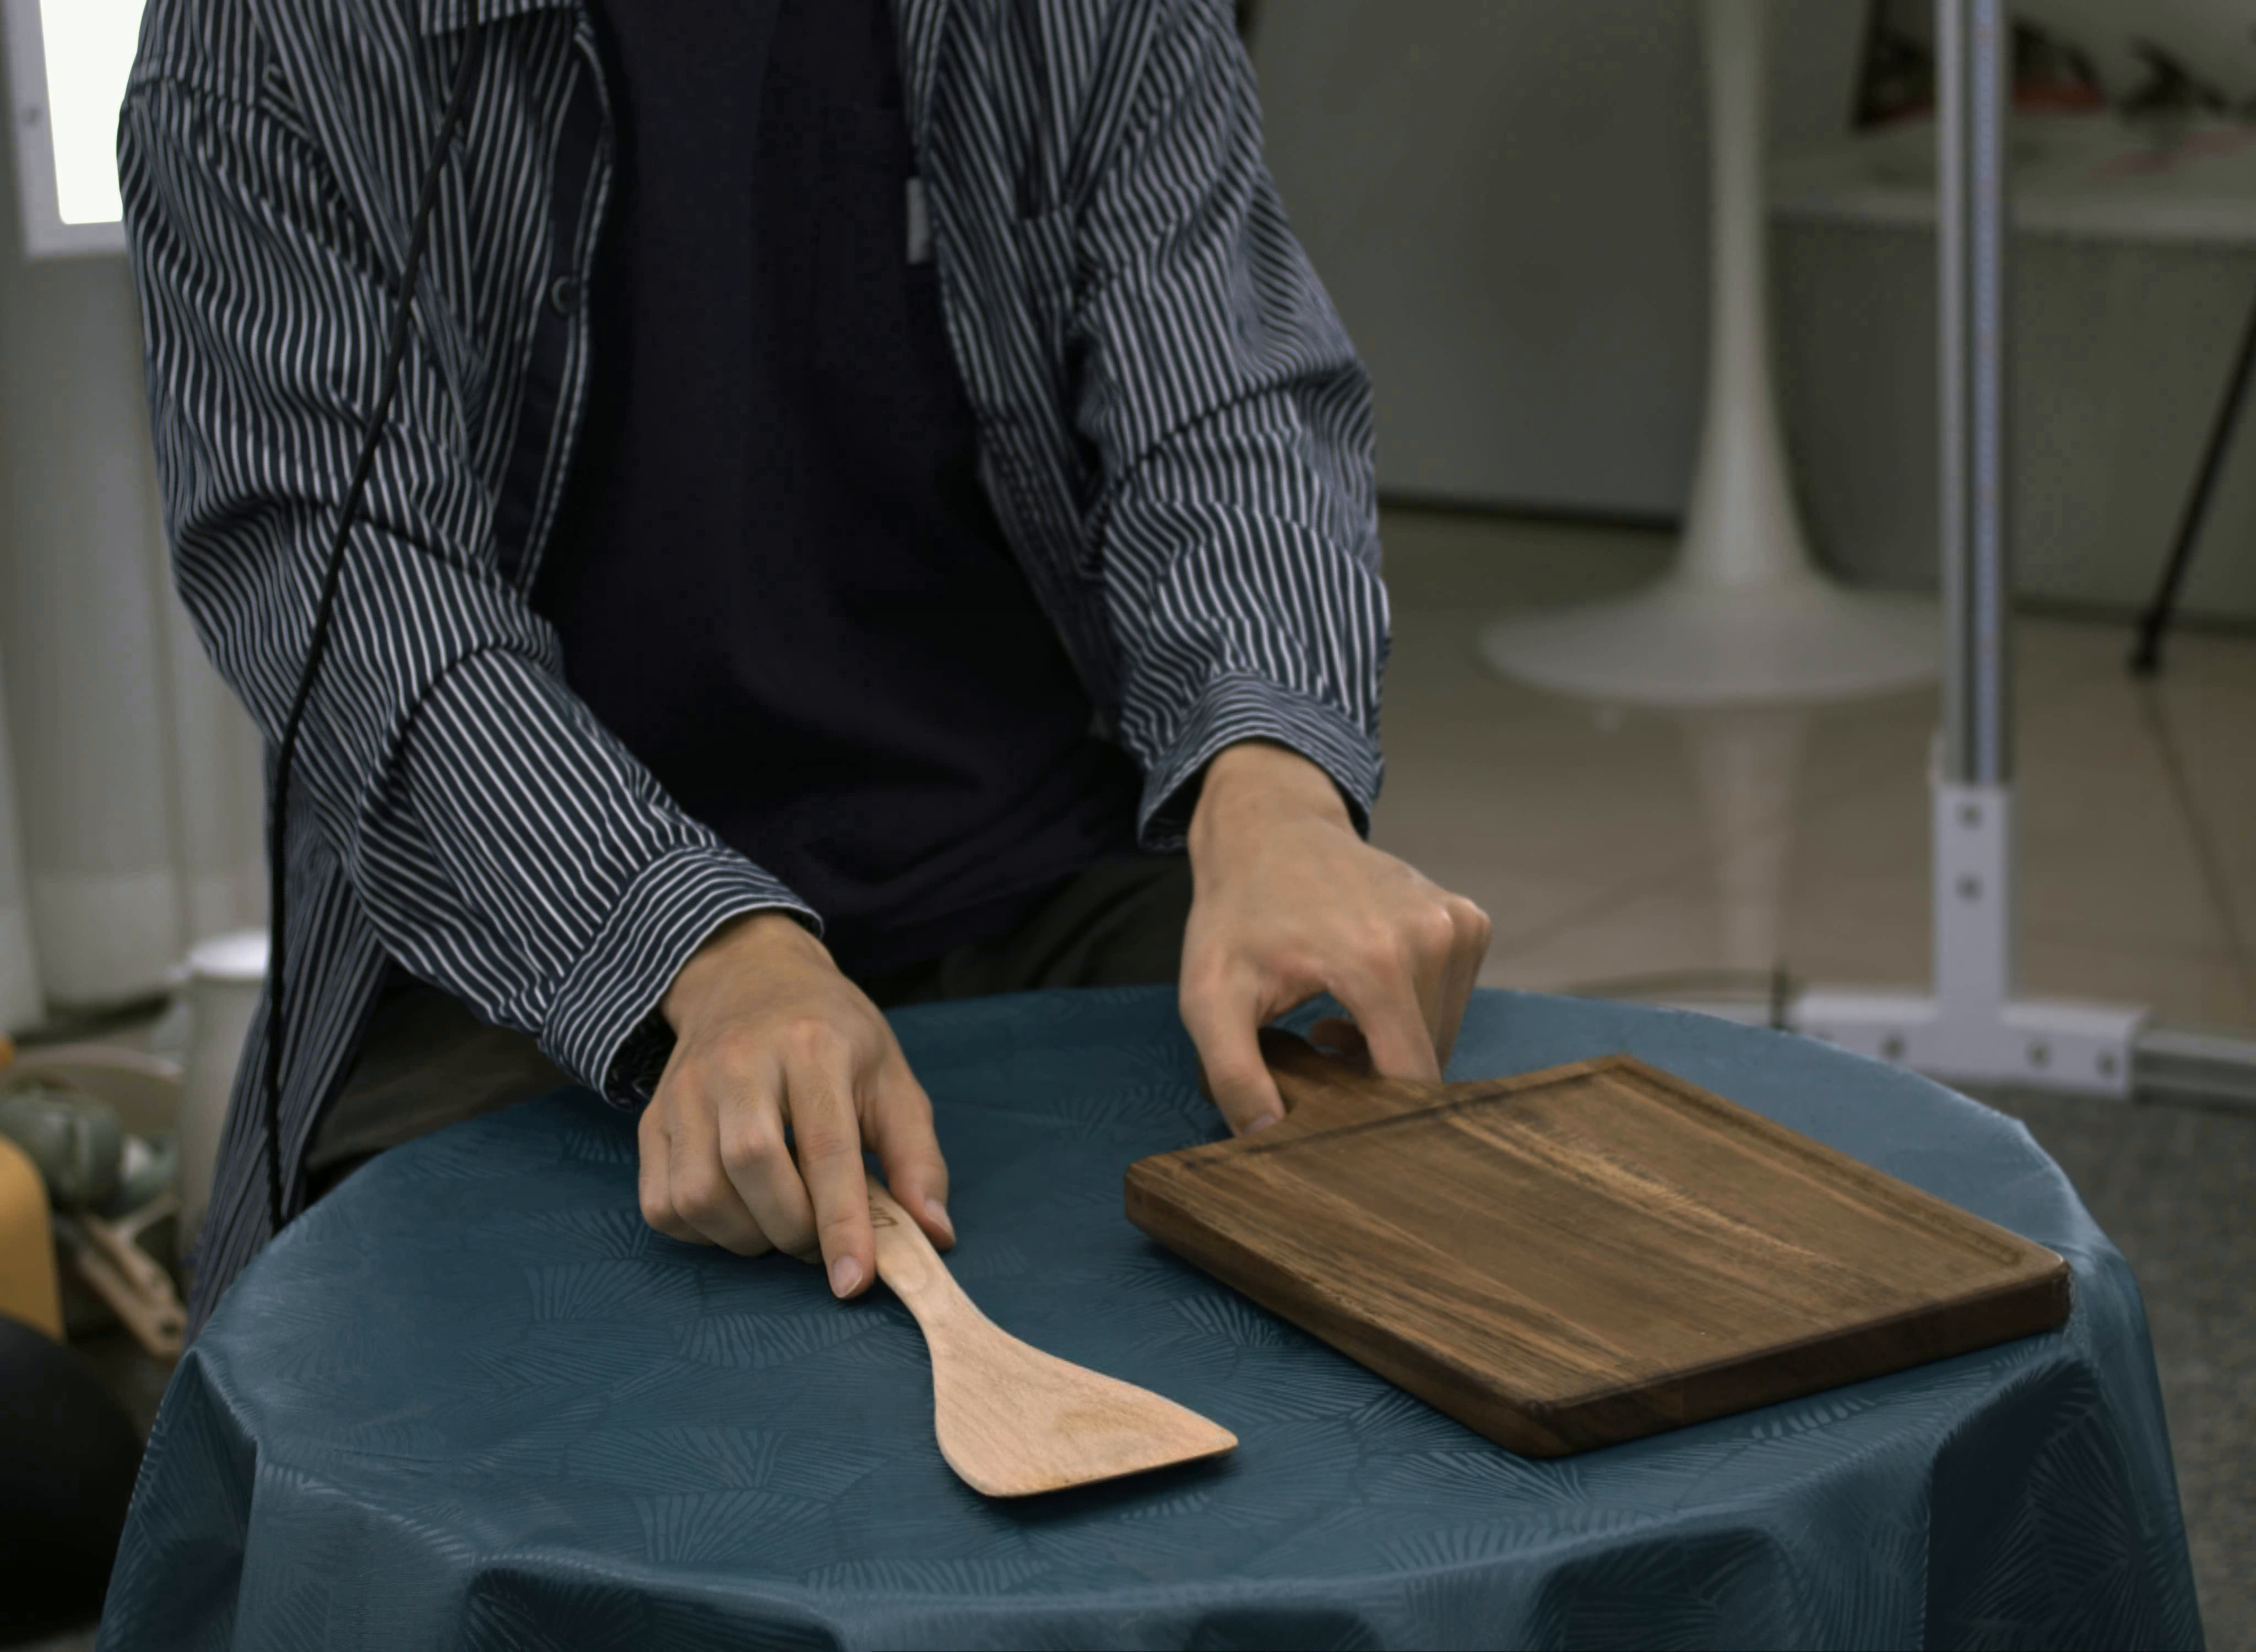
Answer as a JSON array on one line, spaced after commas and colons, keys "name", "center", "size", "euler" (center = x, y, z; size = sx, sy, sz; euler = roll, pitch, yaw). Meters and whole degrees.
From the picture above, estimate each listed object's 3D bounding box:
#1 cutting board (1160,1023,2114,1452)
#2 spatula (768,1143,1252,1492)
[{"name": "cutting board", "center": [0.128, 0.115, 1.693], "size": [0.197, 0.023, 0.356], "euler": [-10, 17, -25]}, {"name": "spatula", "center": [-0.052, 0.144, 1.644], "size": [0.078, 0.017, 0.331], "euler": [-7, 17, -19]}]
